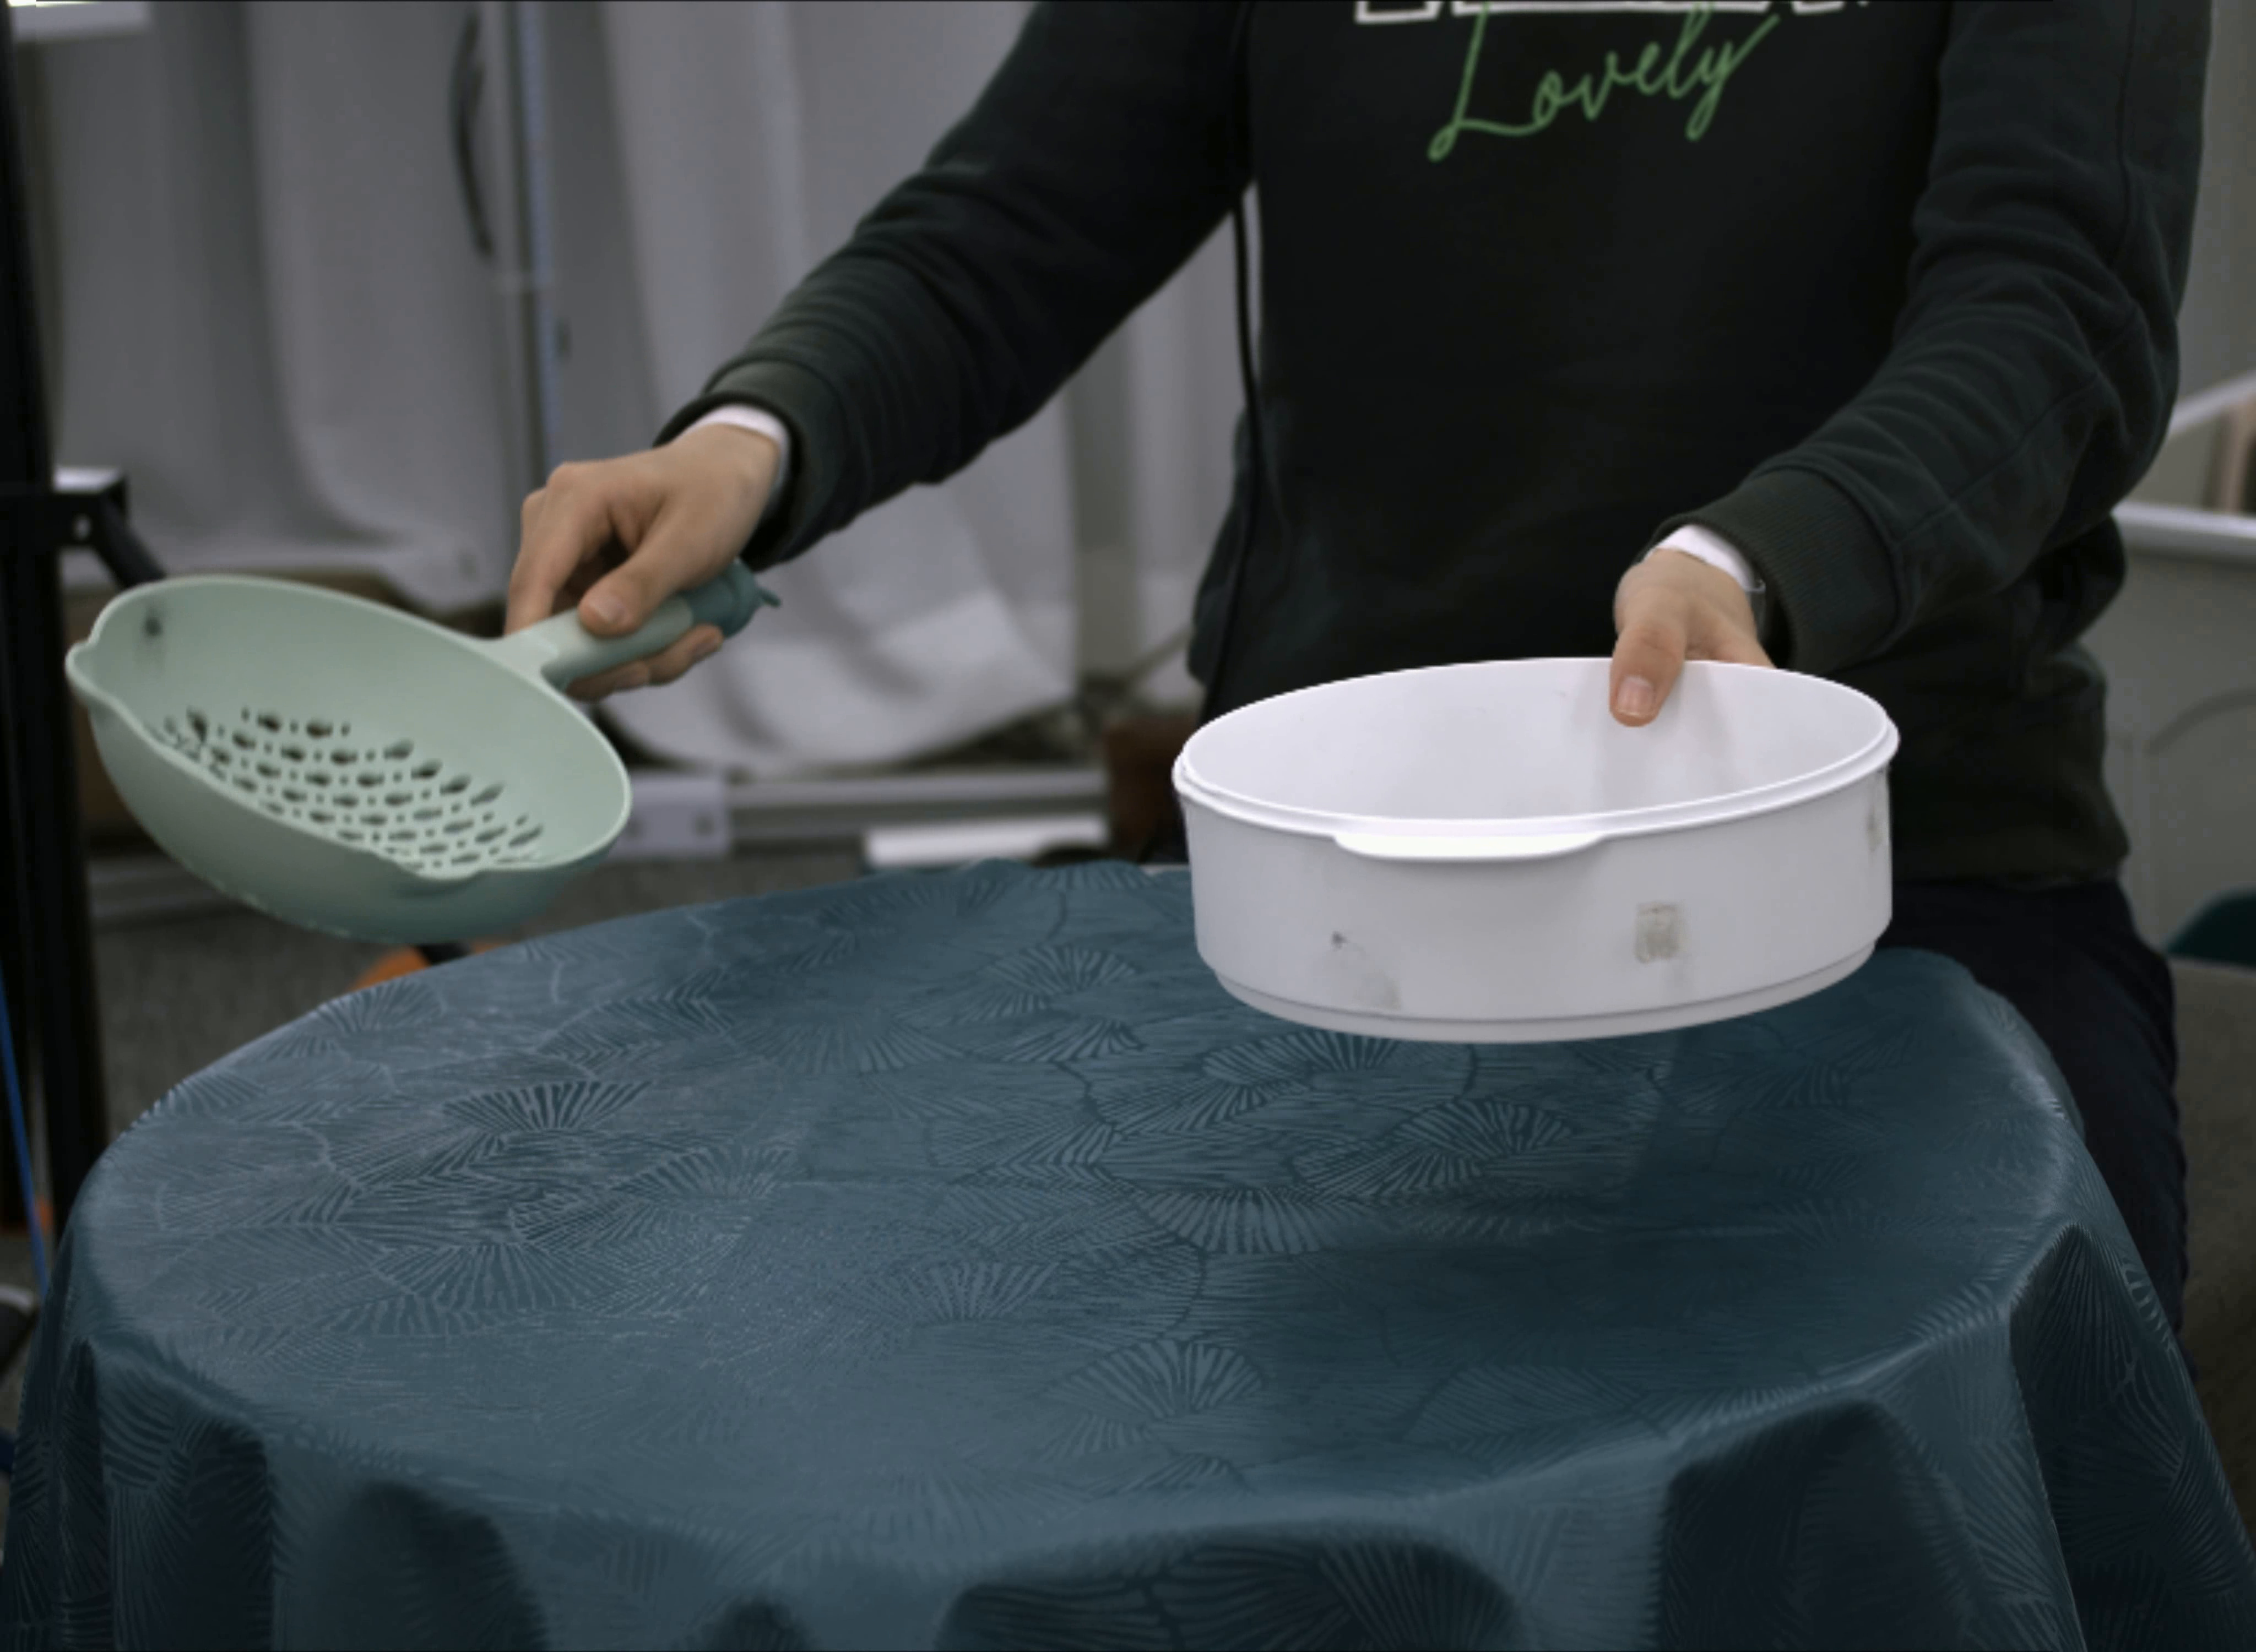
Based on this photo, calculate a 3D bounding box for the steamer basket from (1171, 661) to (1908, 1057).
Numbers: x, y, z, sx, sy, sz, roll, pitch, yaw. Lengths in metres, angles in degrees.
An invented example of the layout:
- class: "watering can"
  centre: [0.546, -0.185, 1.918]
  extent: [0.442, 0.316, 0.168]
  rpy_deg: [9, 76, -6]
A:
- class: "steamer basket"
  centre: [0.114, 0.009, 1.462]
  extent: [0.203, 0.069, 0.229]
  rpy_deg: [1, 15, 15]

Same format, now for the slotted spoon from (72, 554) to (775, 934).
- class: "slotted spoon"
  centre: [-0.194, -0.046, 1.687]
  extent: [0.171, 0.075, 0.354]
  rpy_deg: [30, 30, 14]
